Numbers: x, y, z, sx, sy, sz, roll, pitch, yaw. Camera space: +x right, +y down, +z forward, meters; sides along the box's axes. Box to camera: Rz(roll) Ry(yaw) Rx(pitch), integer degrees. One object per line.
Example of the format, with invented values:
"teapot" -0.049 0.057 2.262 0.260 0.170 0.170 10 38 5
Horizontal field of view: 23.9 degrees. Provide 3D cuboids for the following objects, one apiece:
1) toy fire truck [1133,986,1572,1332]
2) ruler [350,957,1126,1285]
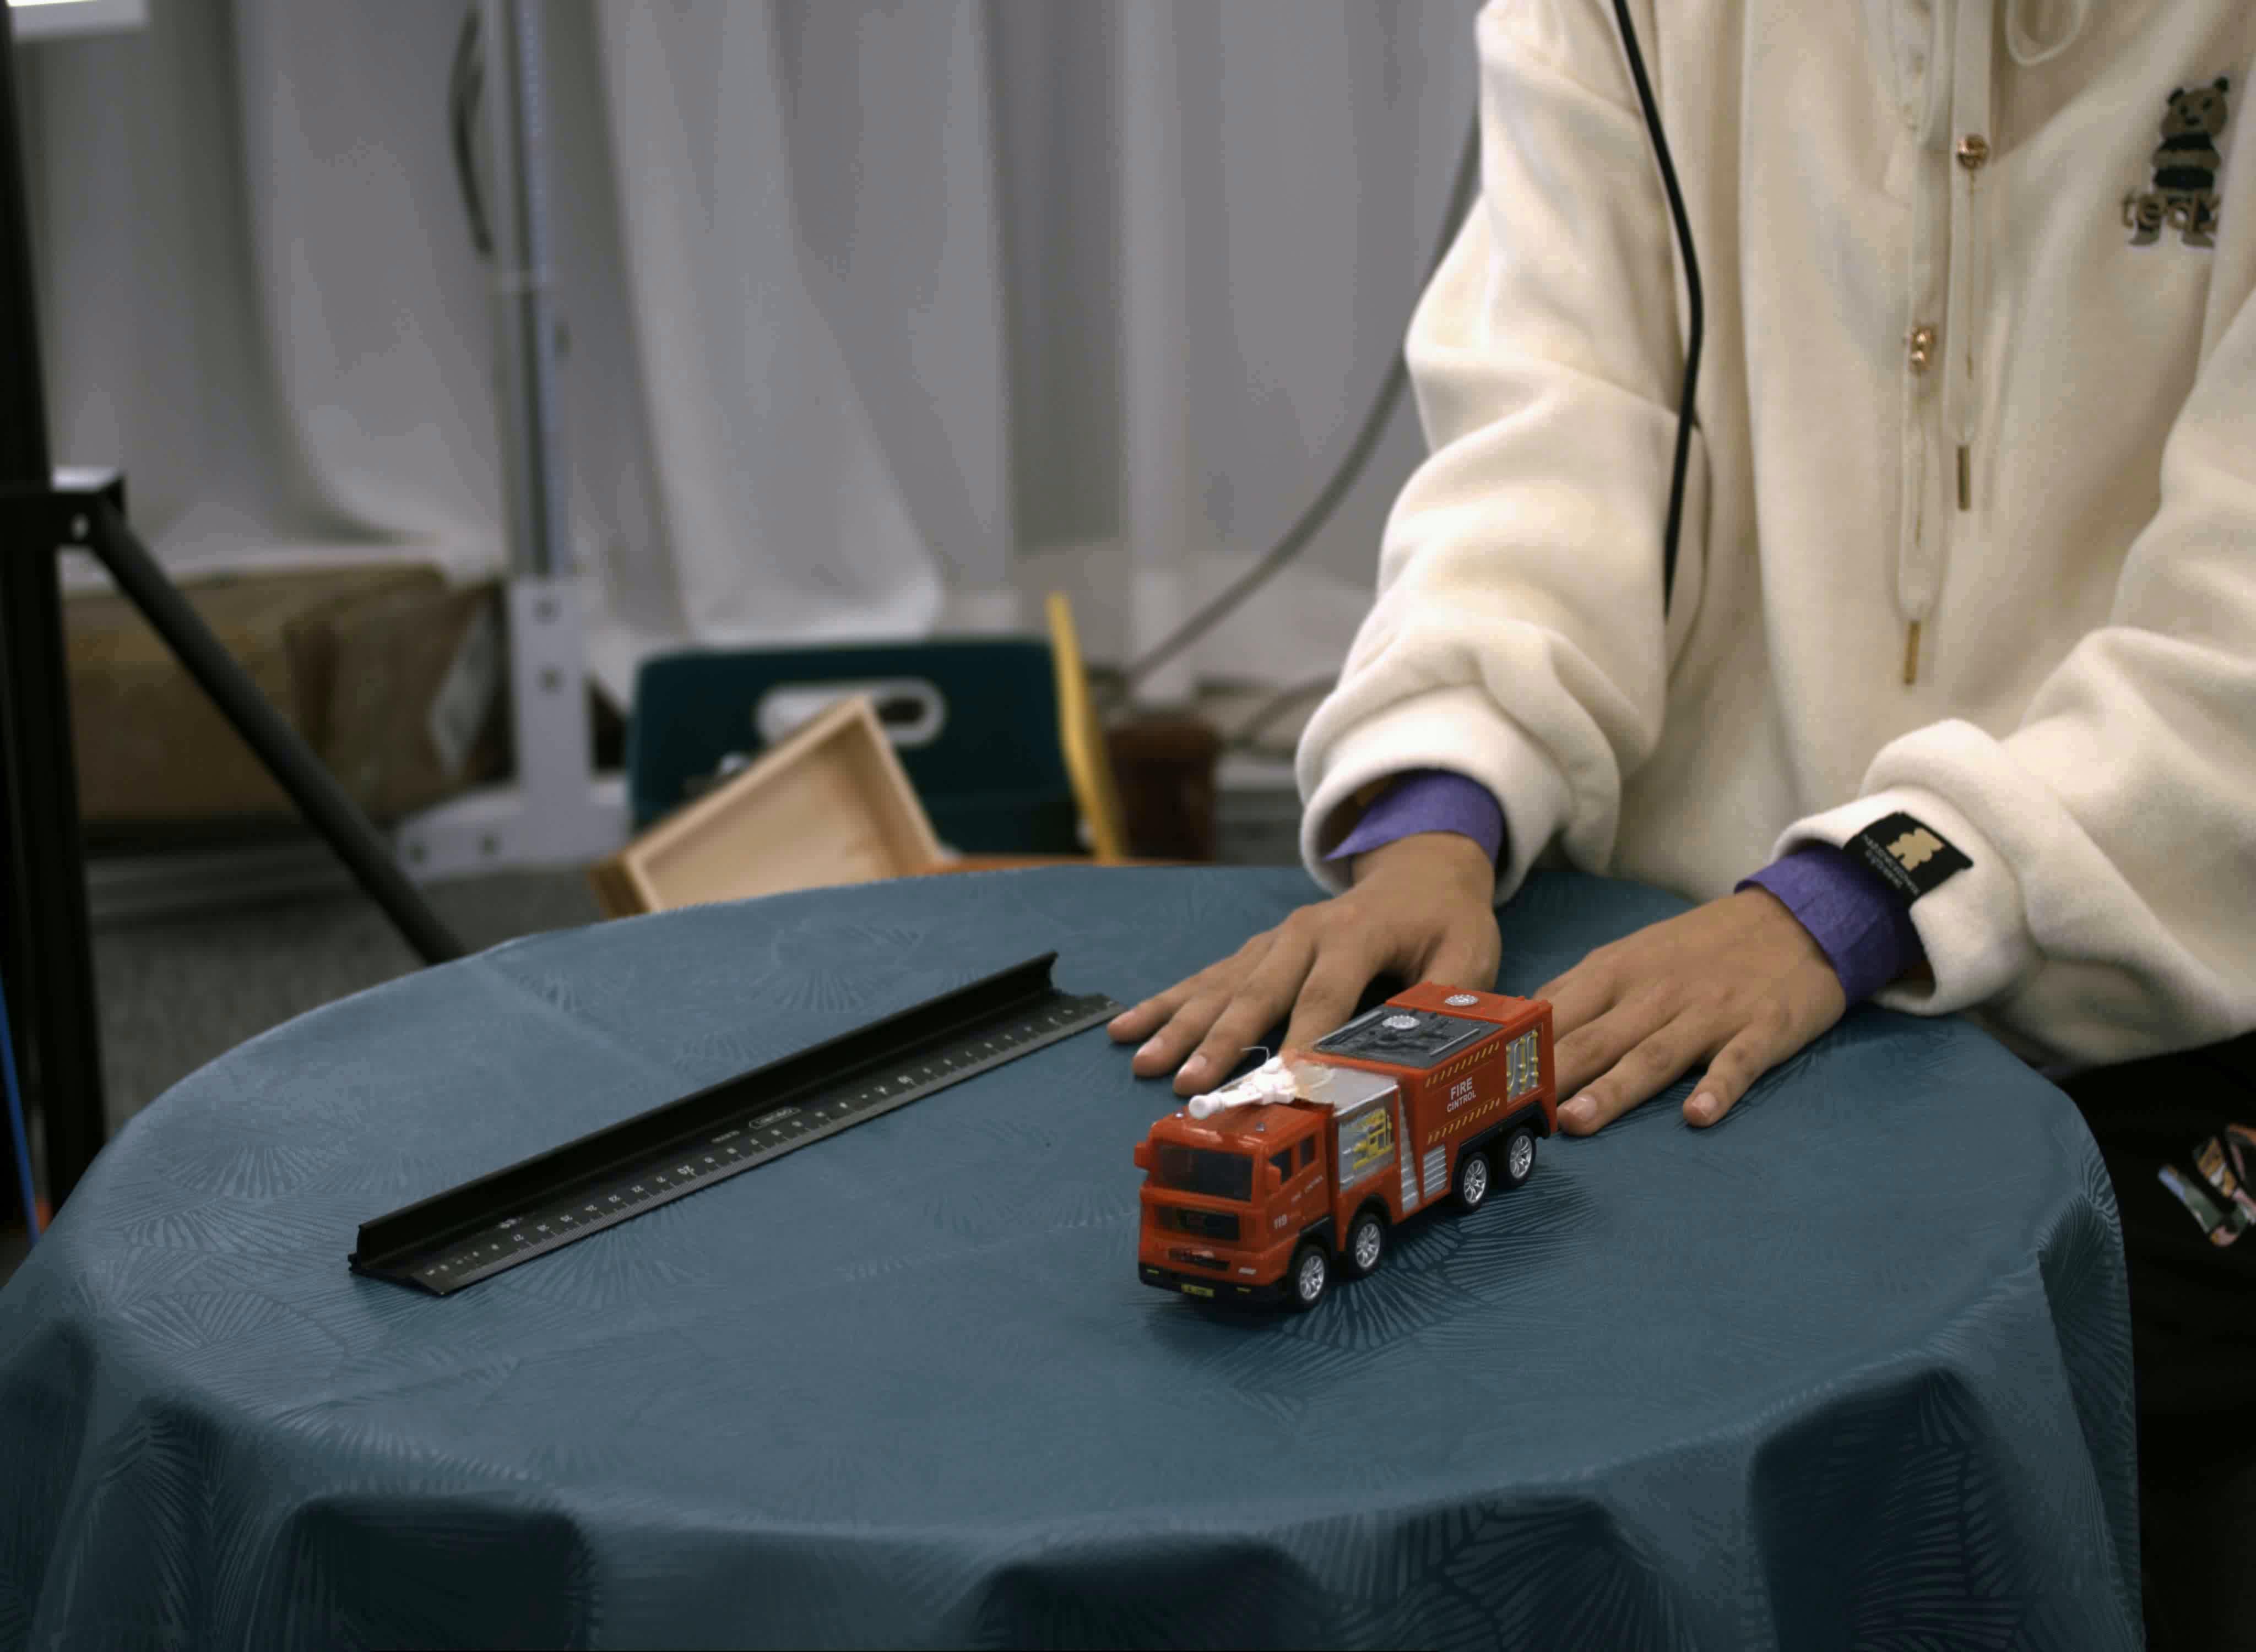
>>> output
"toy fire truck" 0.065 0.091 1.502 0.055 0.070 0.164 6 16 35
"ruler" -0.111 0.087 1.622 0.040 0.017 0.306 15 23 38
